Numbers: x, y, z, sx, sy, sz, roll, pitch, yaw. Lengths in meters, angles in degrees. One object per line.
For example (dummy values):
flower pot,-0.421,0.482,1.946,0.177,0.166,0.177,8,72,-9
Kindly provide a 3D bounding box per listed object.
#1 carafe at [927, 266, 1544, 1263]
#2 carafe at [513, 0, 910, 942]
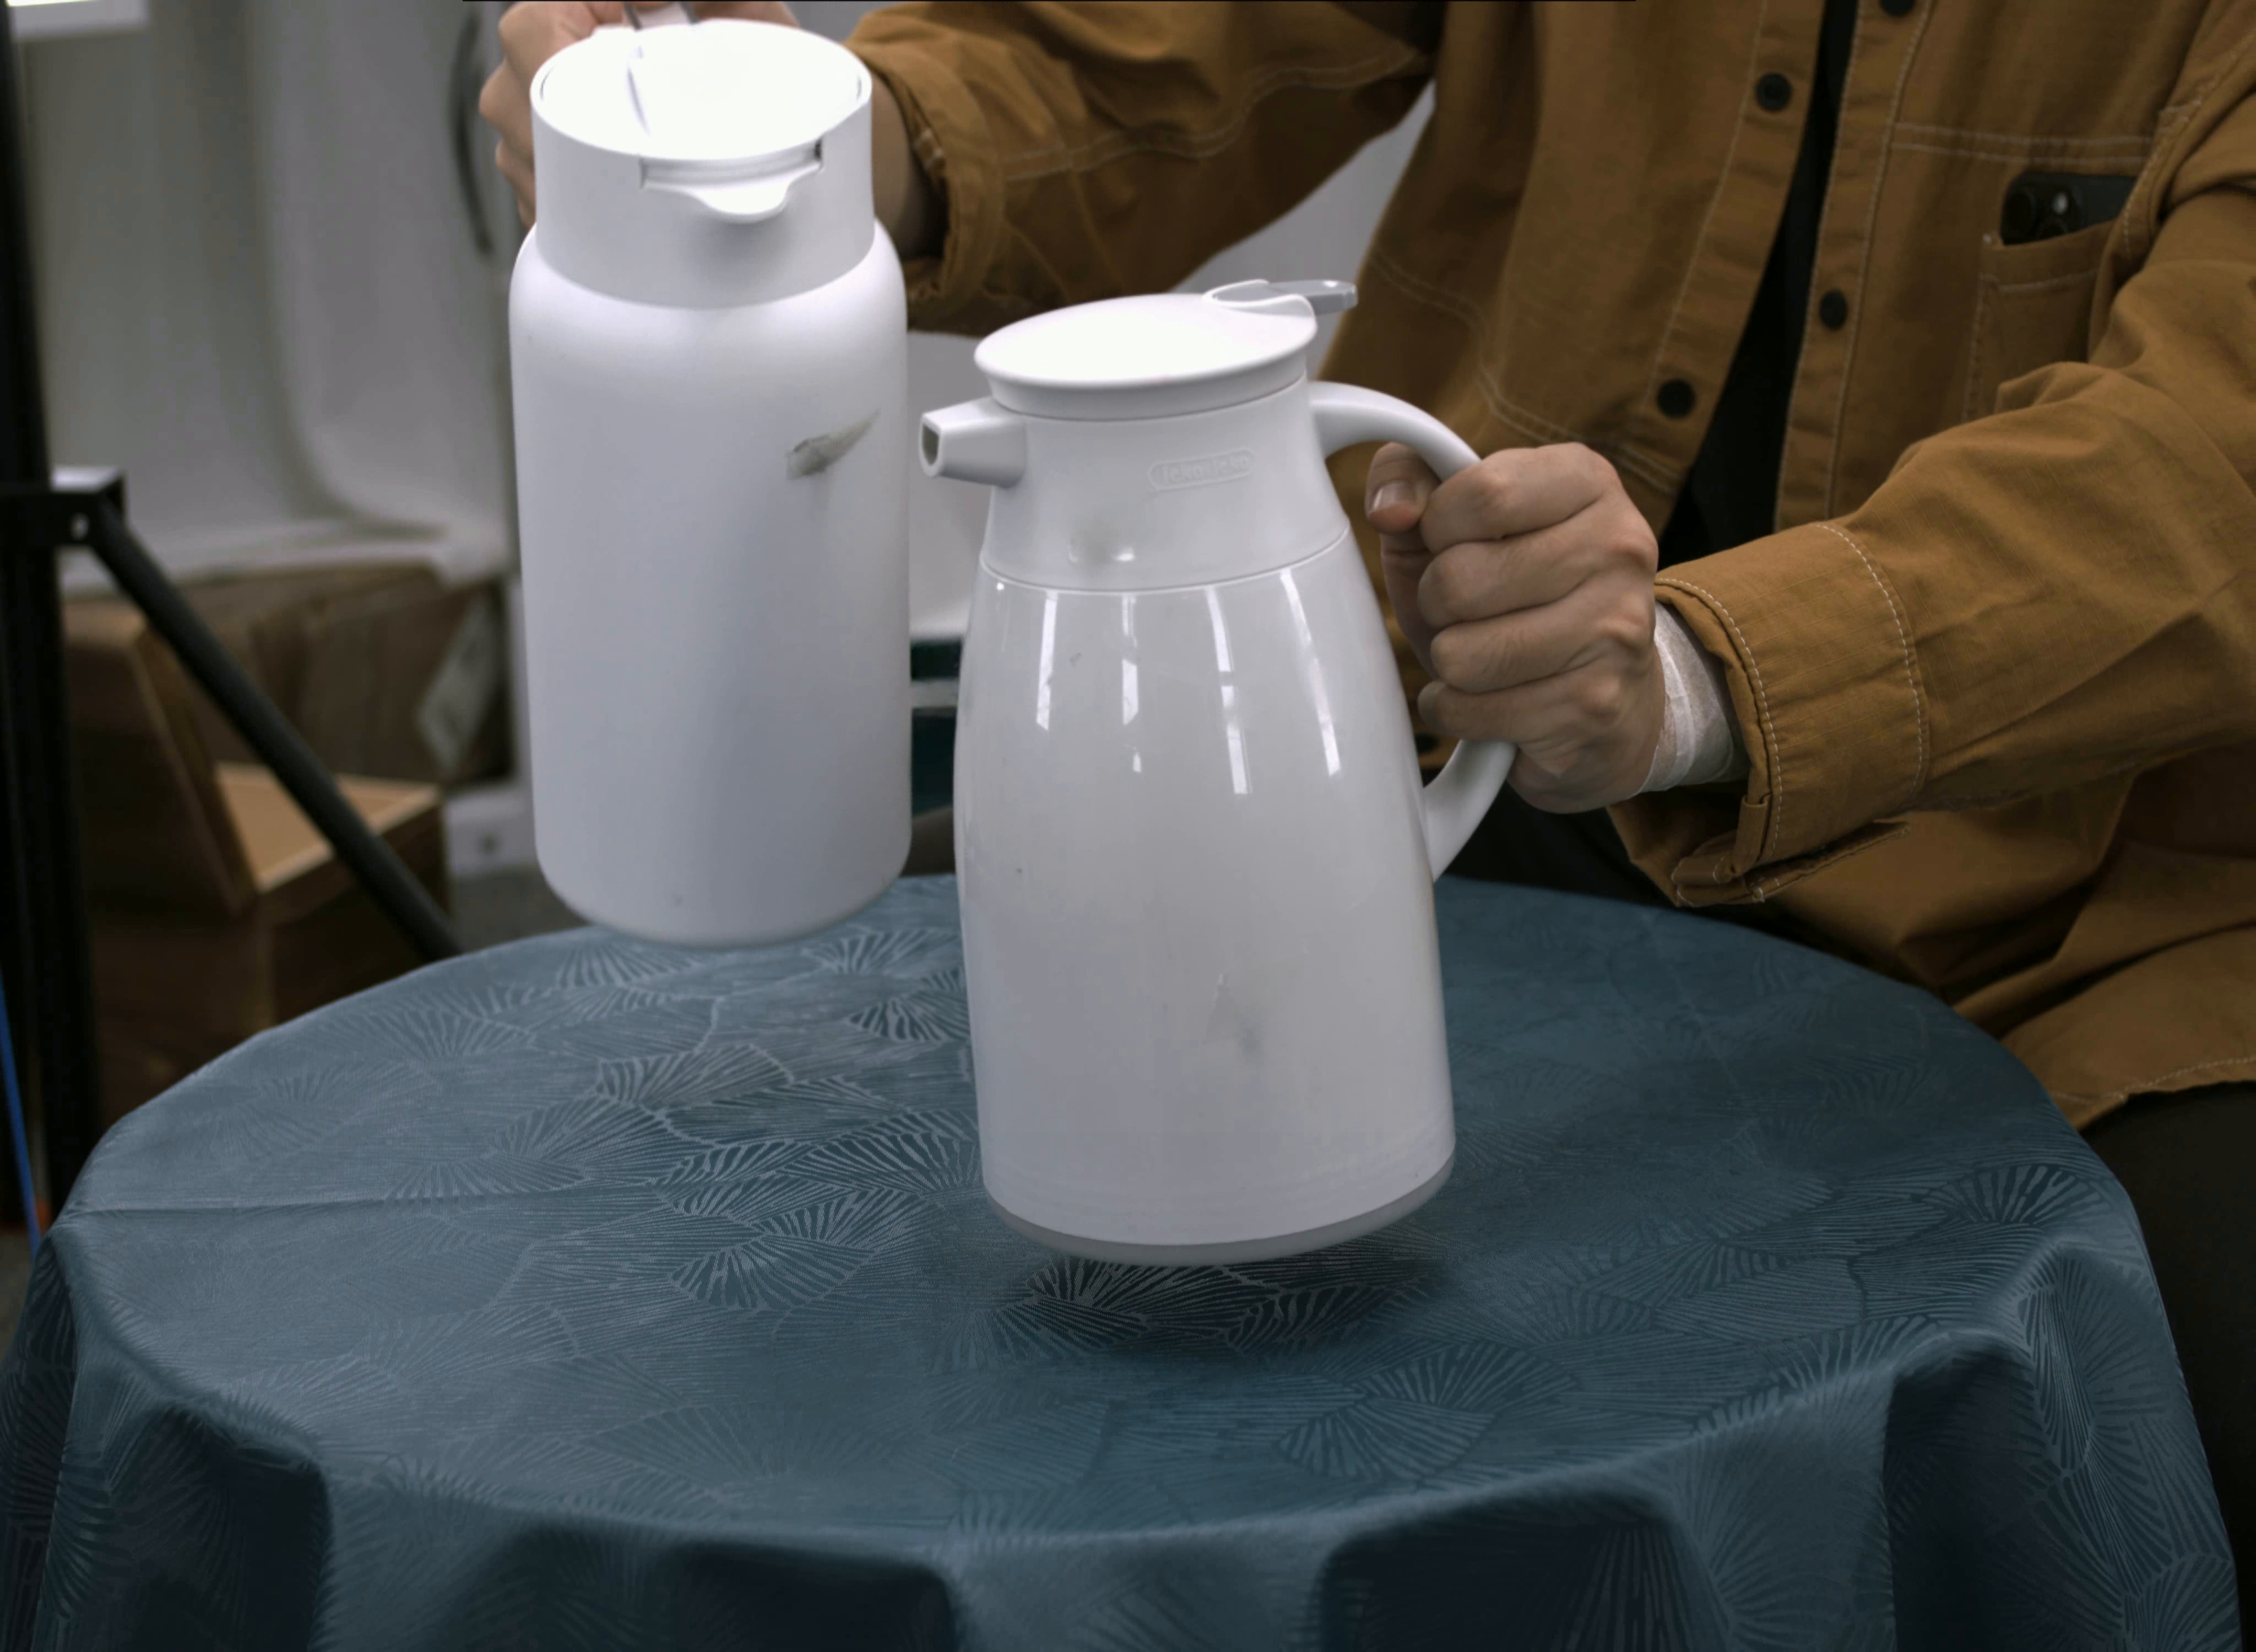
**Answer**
carafe,0.033,-0.025,1.440,0.165,0.248,0.135,-9,18,-16
carafe,-0.130,-0.113,1.613,0.122,0.267,0.176,-10,33,-14
